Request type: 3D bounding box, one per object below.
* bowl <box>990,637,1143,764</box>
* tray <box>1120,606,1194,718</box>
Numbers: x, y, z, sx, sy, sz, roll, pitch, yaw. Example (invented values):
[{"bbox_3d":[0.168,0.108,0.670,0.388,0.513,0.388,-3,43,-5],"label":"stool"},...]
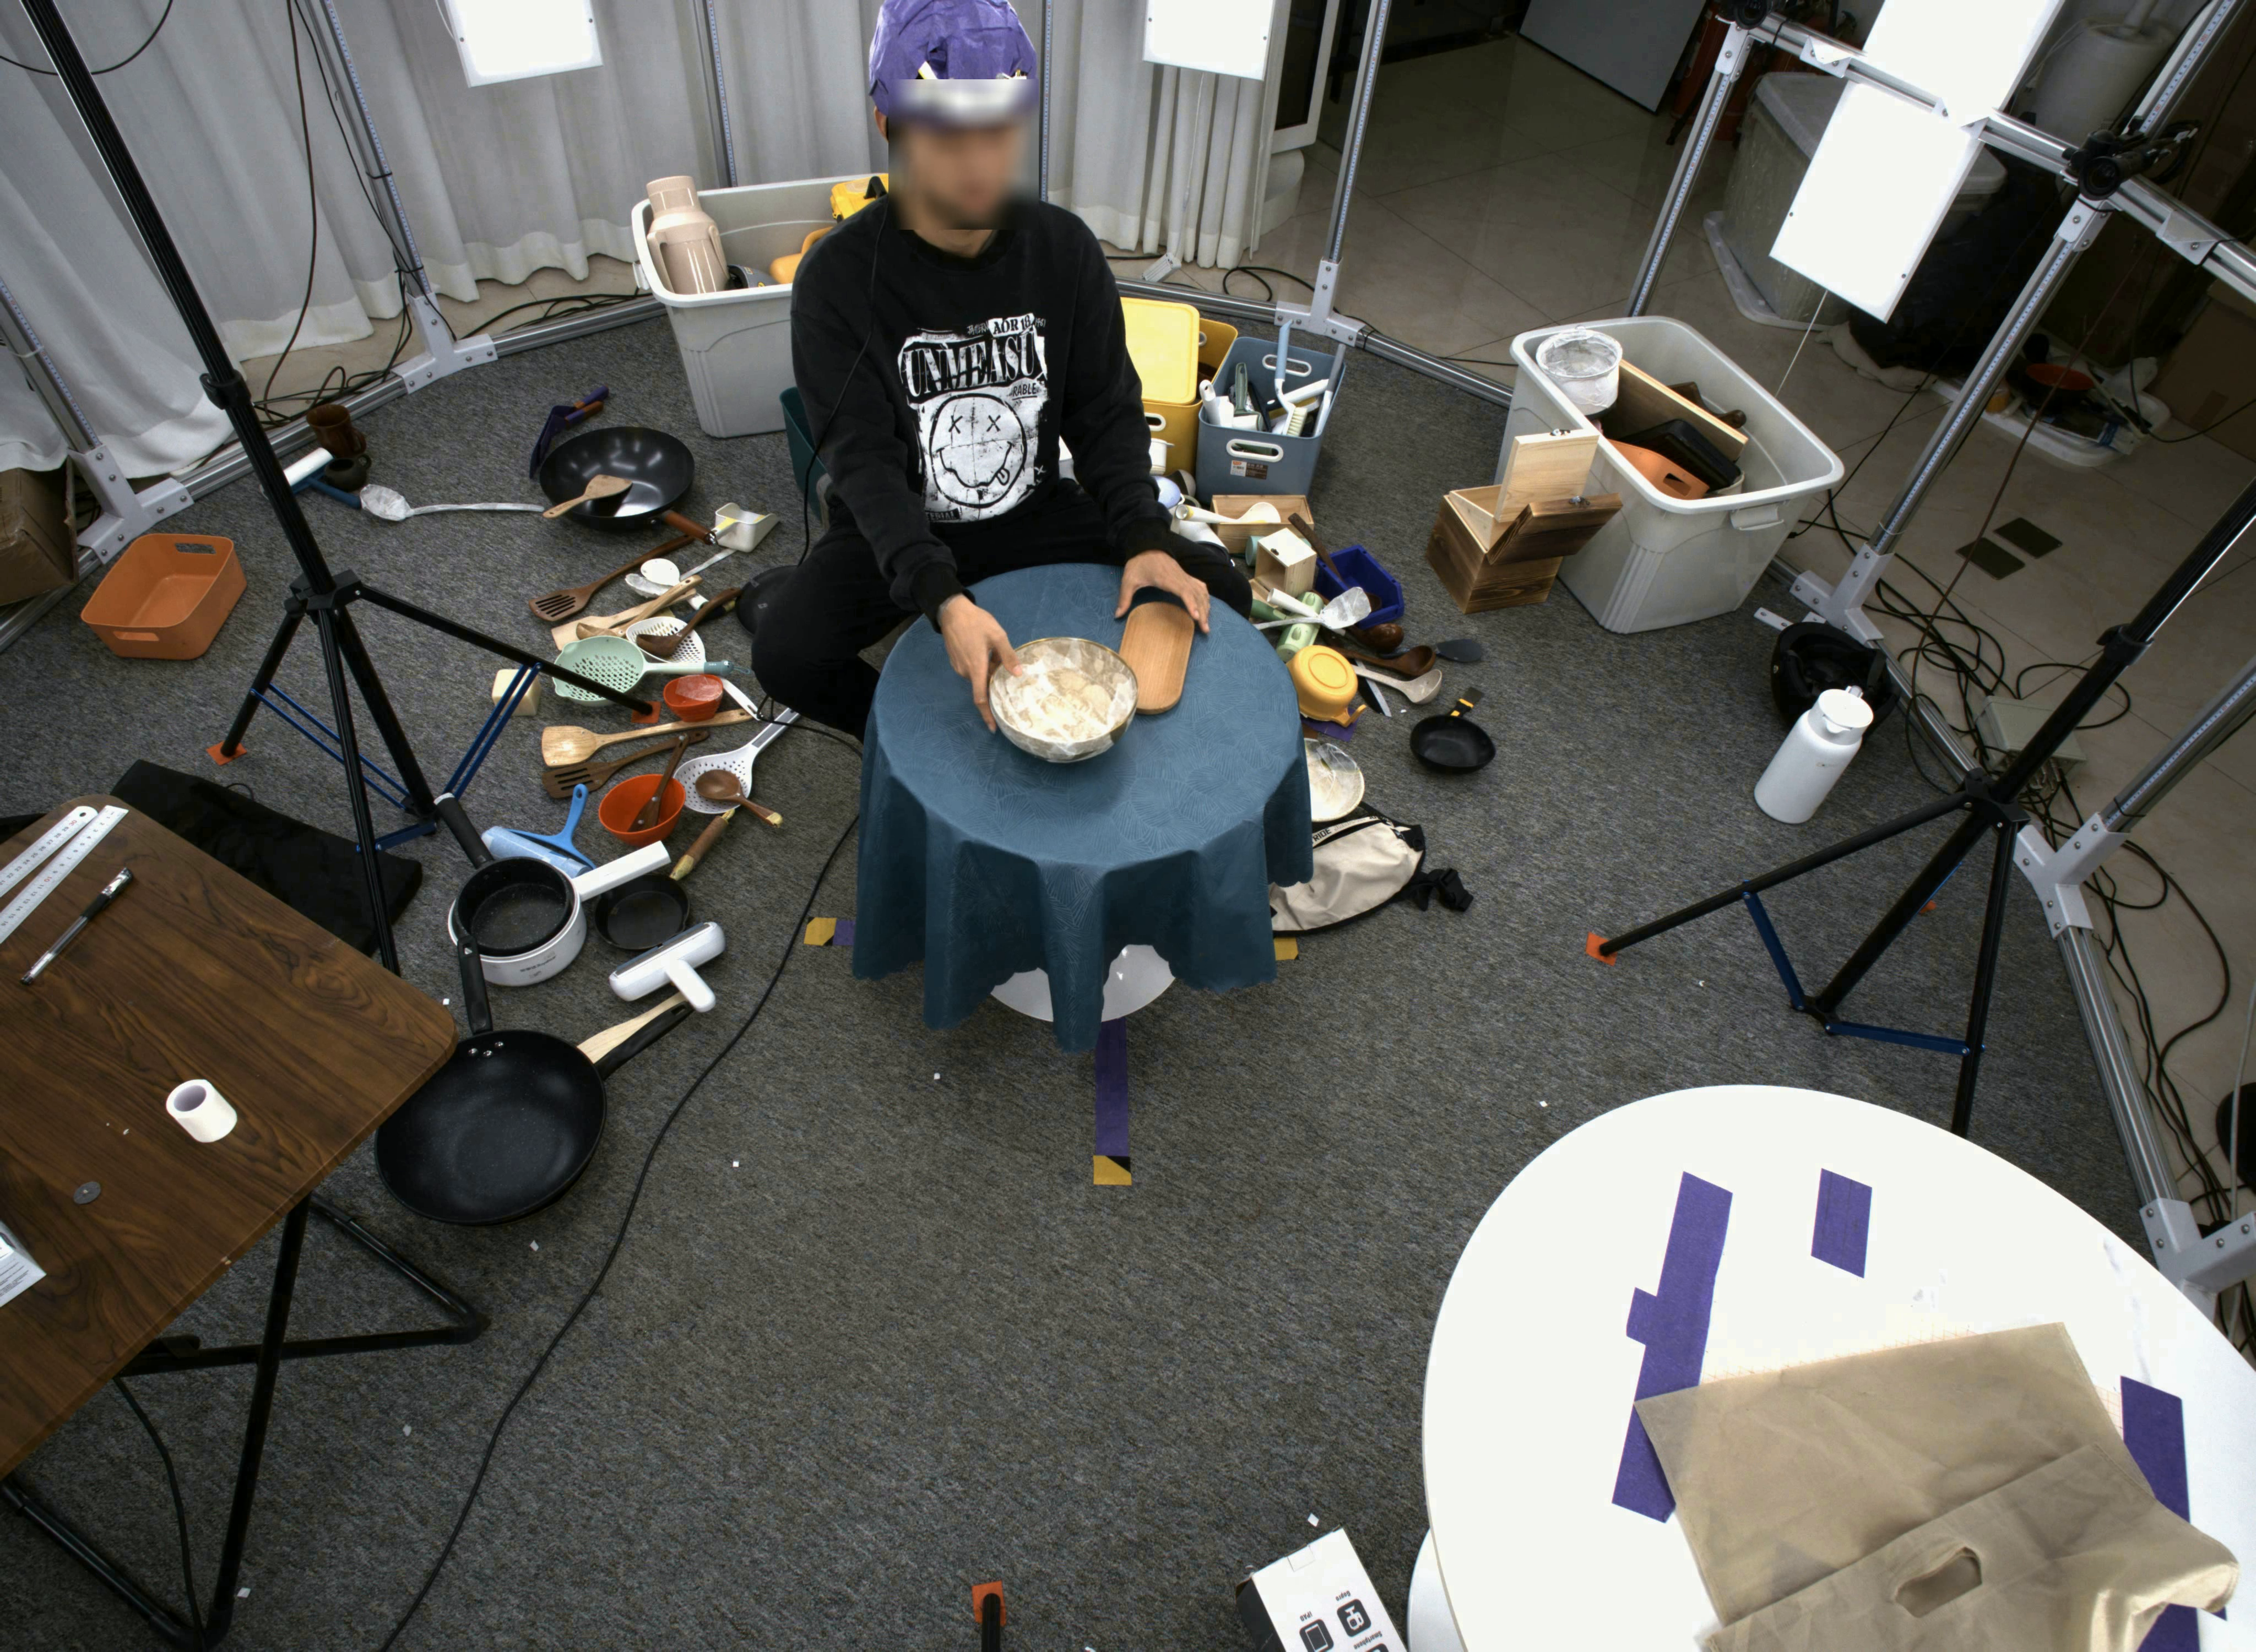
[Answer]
[{"bbox_3d":[-0.084,-0.158,1.756,0.214,0.092,0.220,1,48,-2],"label":"bowl"},{"bbox_3d":[0.040,-0.244,1.890,0.102,0.020,0.236,7,50,5],"label":"tray"}]
